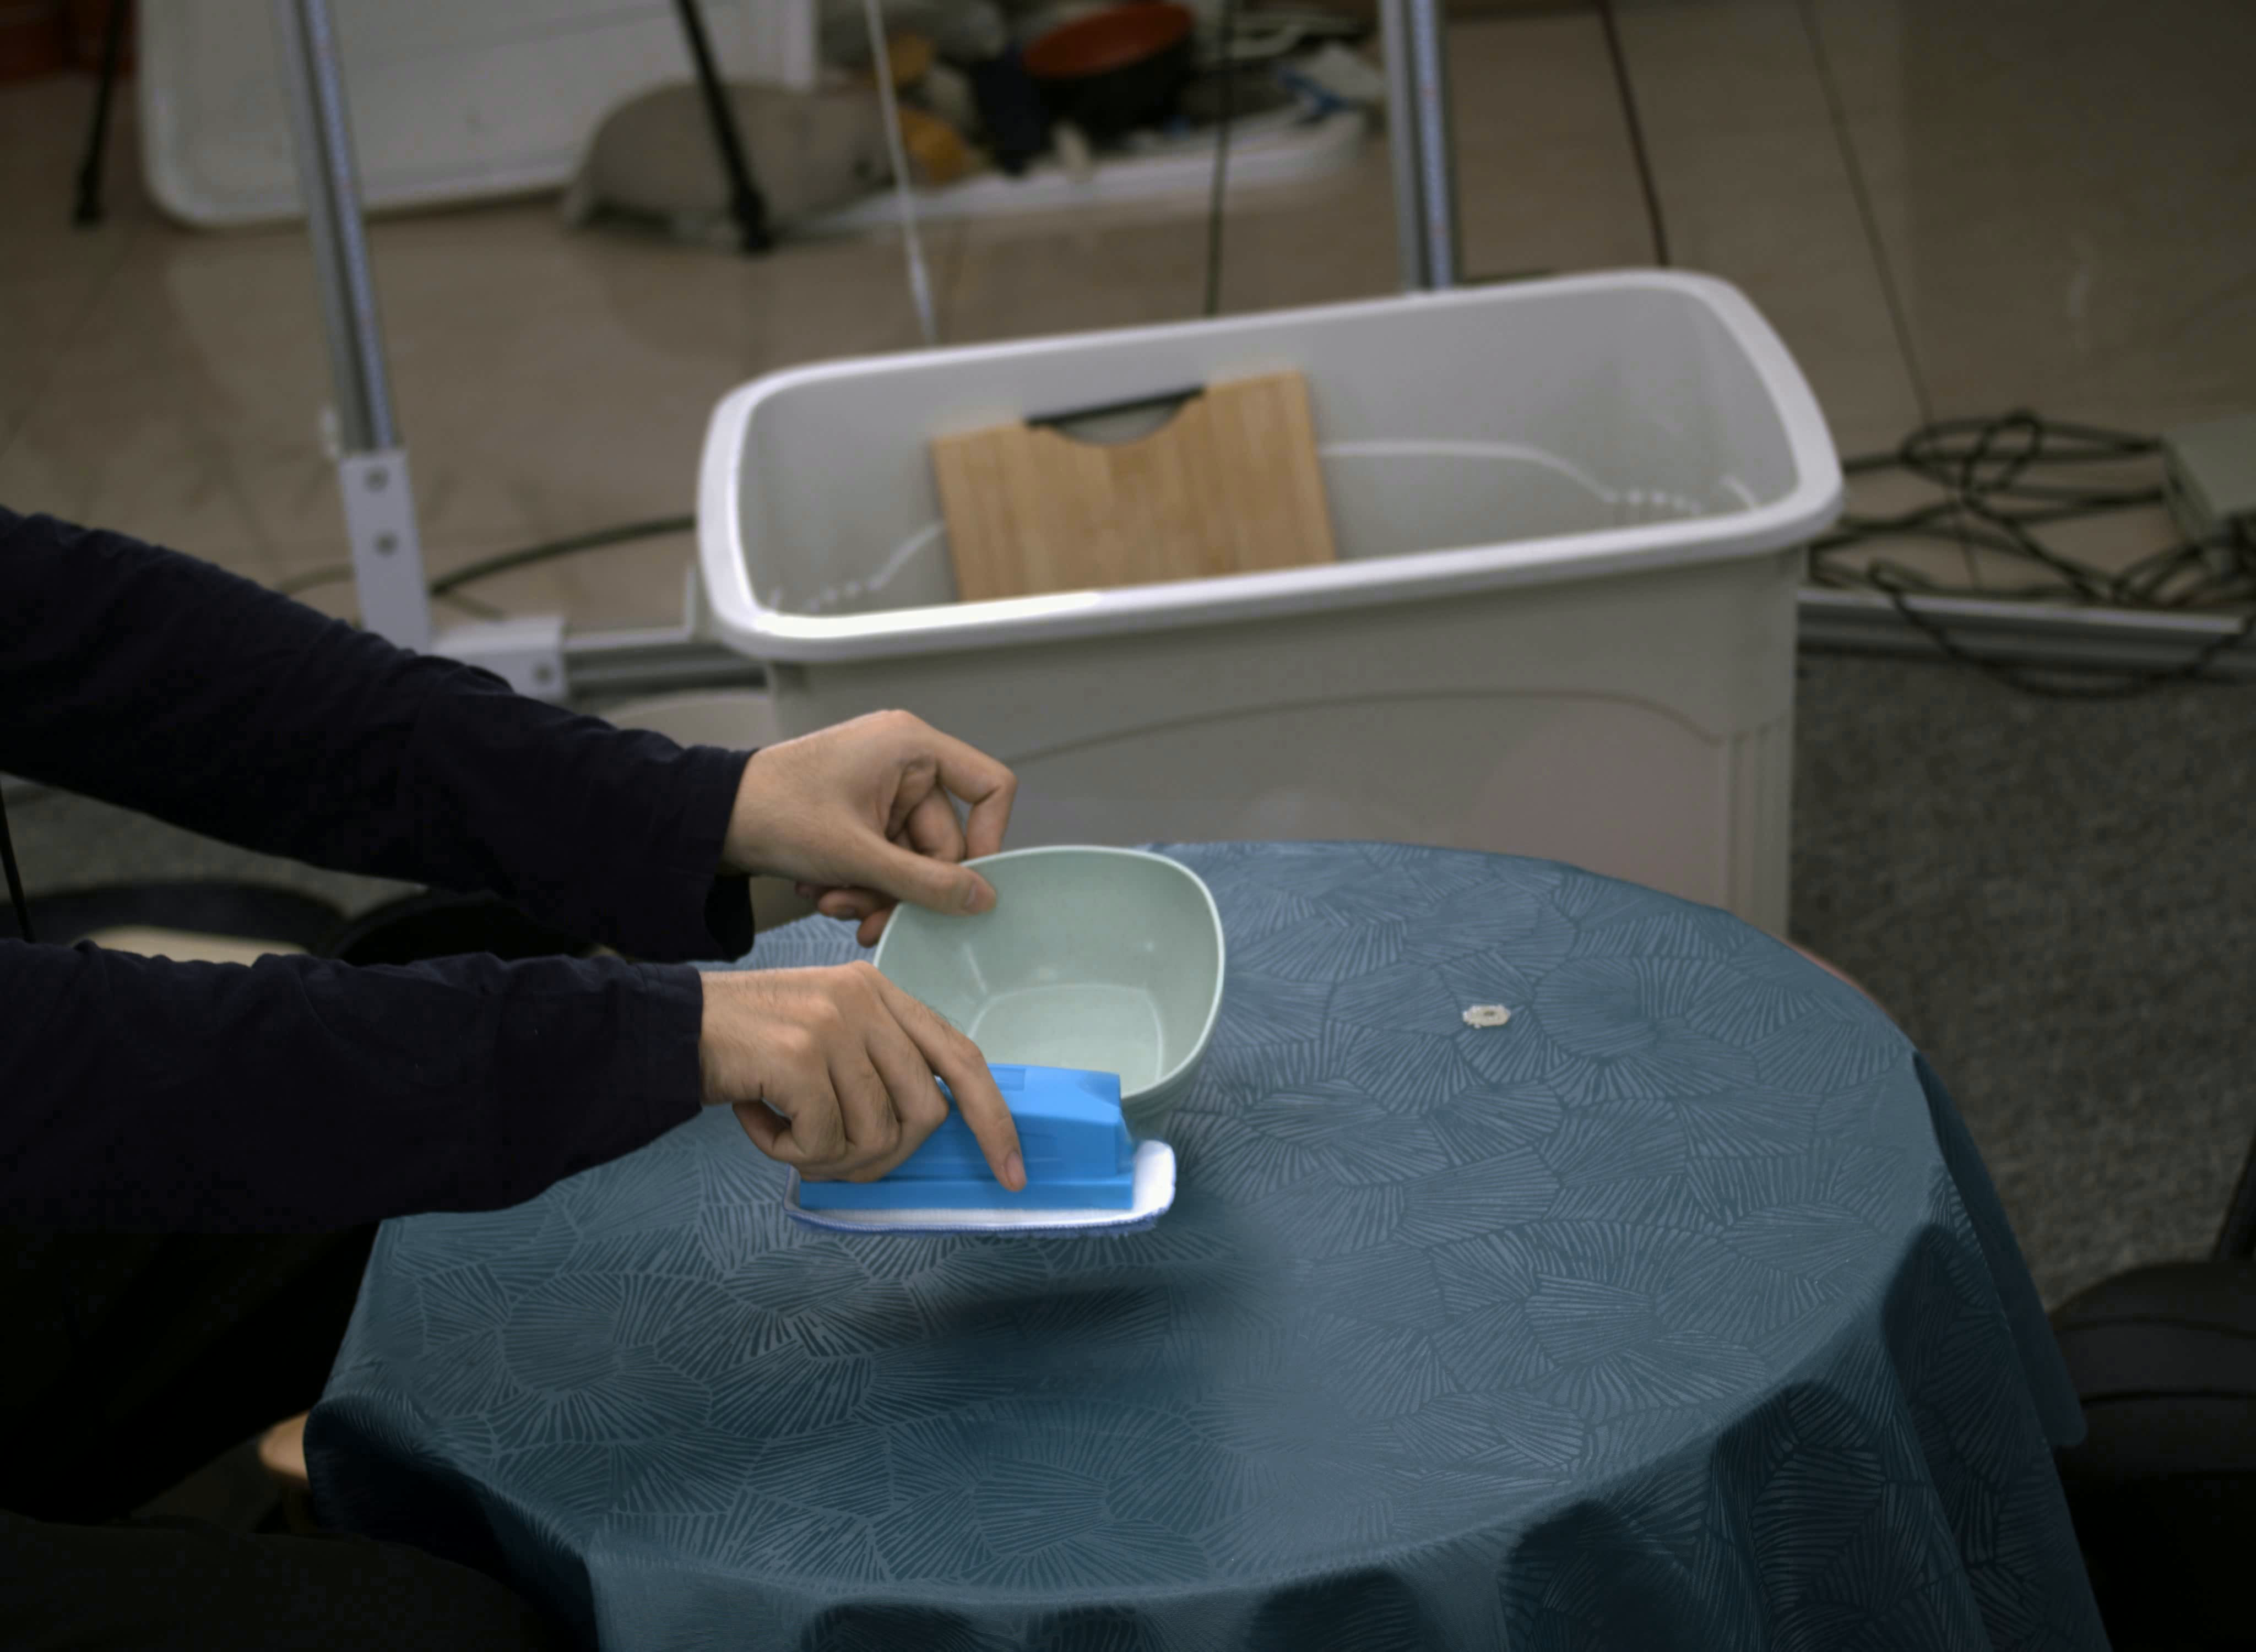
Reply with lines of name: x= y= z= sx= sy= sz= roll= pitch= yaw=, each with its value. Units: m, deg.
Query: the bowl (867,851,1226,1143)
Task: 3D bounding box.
bowl: x=-0.028 y=0.078 z=2.189 sx=0.151 sy=0.060 sz=0.148 roll=-6 pitch=45 yaw=6

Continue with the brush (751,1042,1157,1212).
brush: x=-0.061 y=0.108 z=2.037 sx=0.143 sy=0.056 sz=0.083 roll=3 pitch=16 yaw=4
